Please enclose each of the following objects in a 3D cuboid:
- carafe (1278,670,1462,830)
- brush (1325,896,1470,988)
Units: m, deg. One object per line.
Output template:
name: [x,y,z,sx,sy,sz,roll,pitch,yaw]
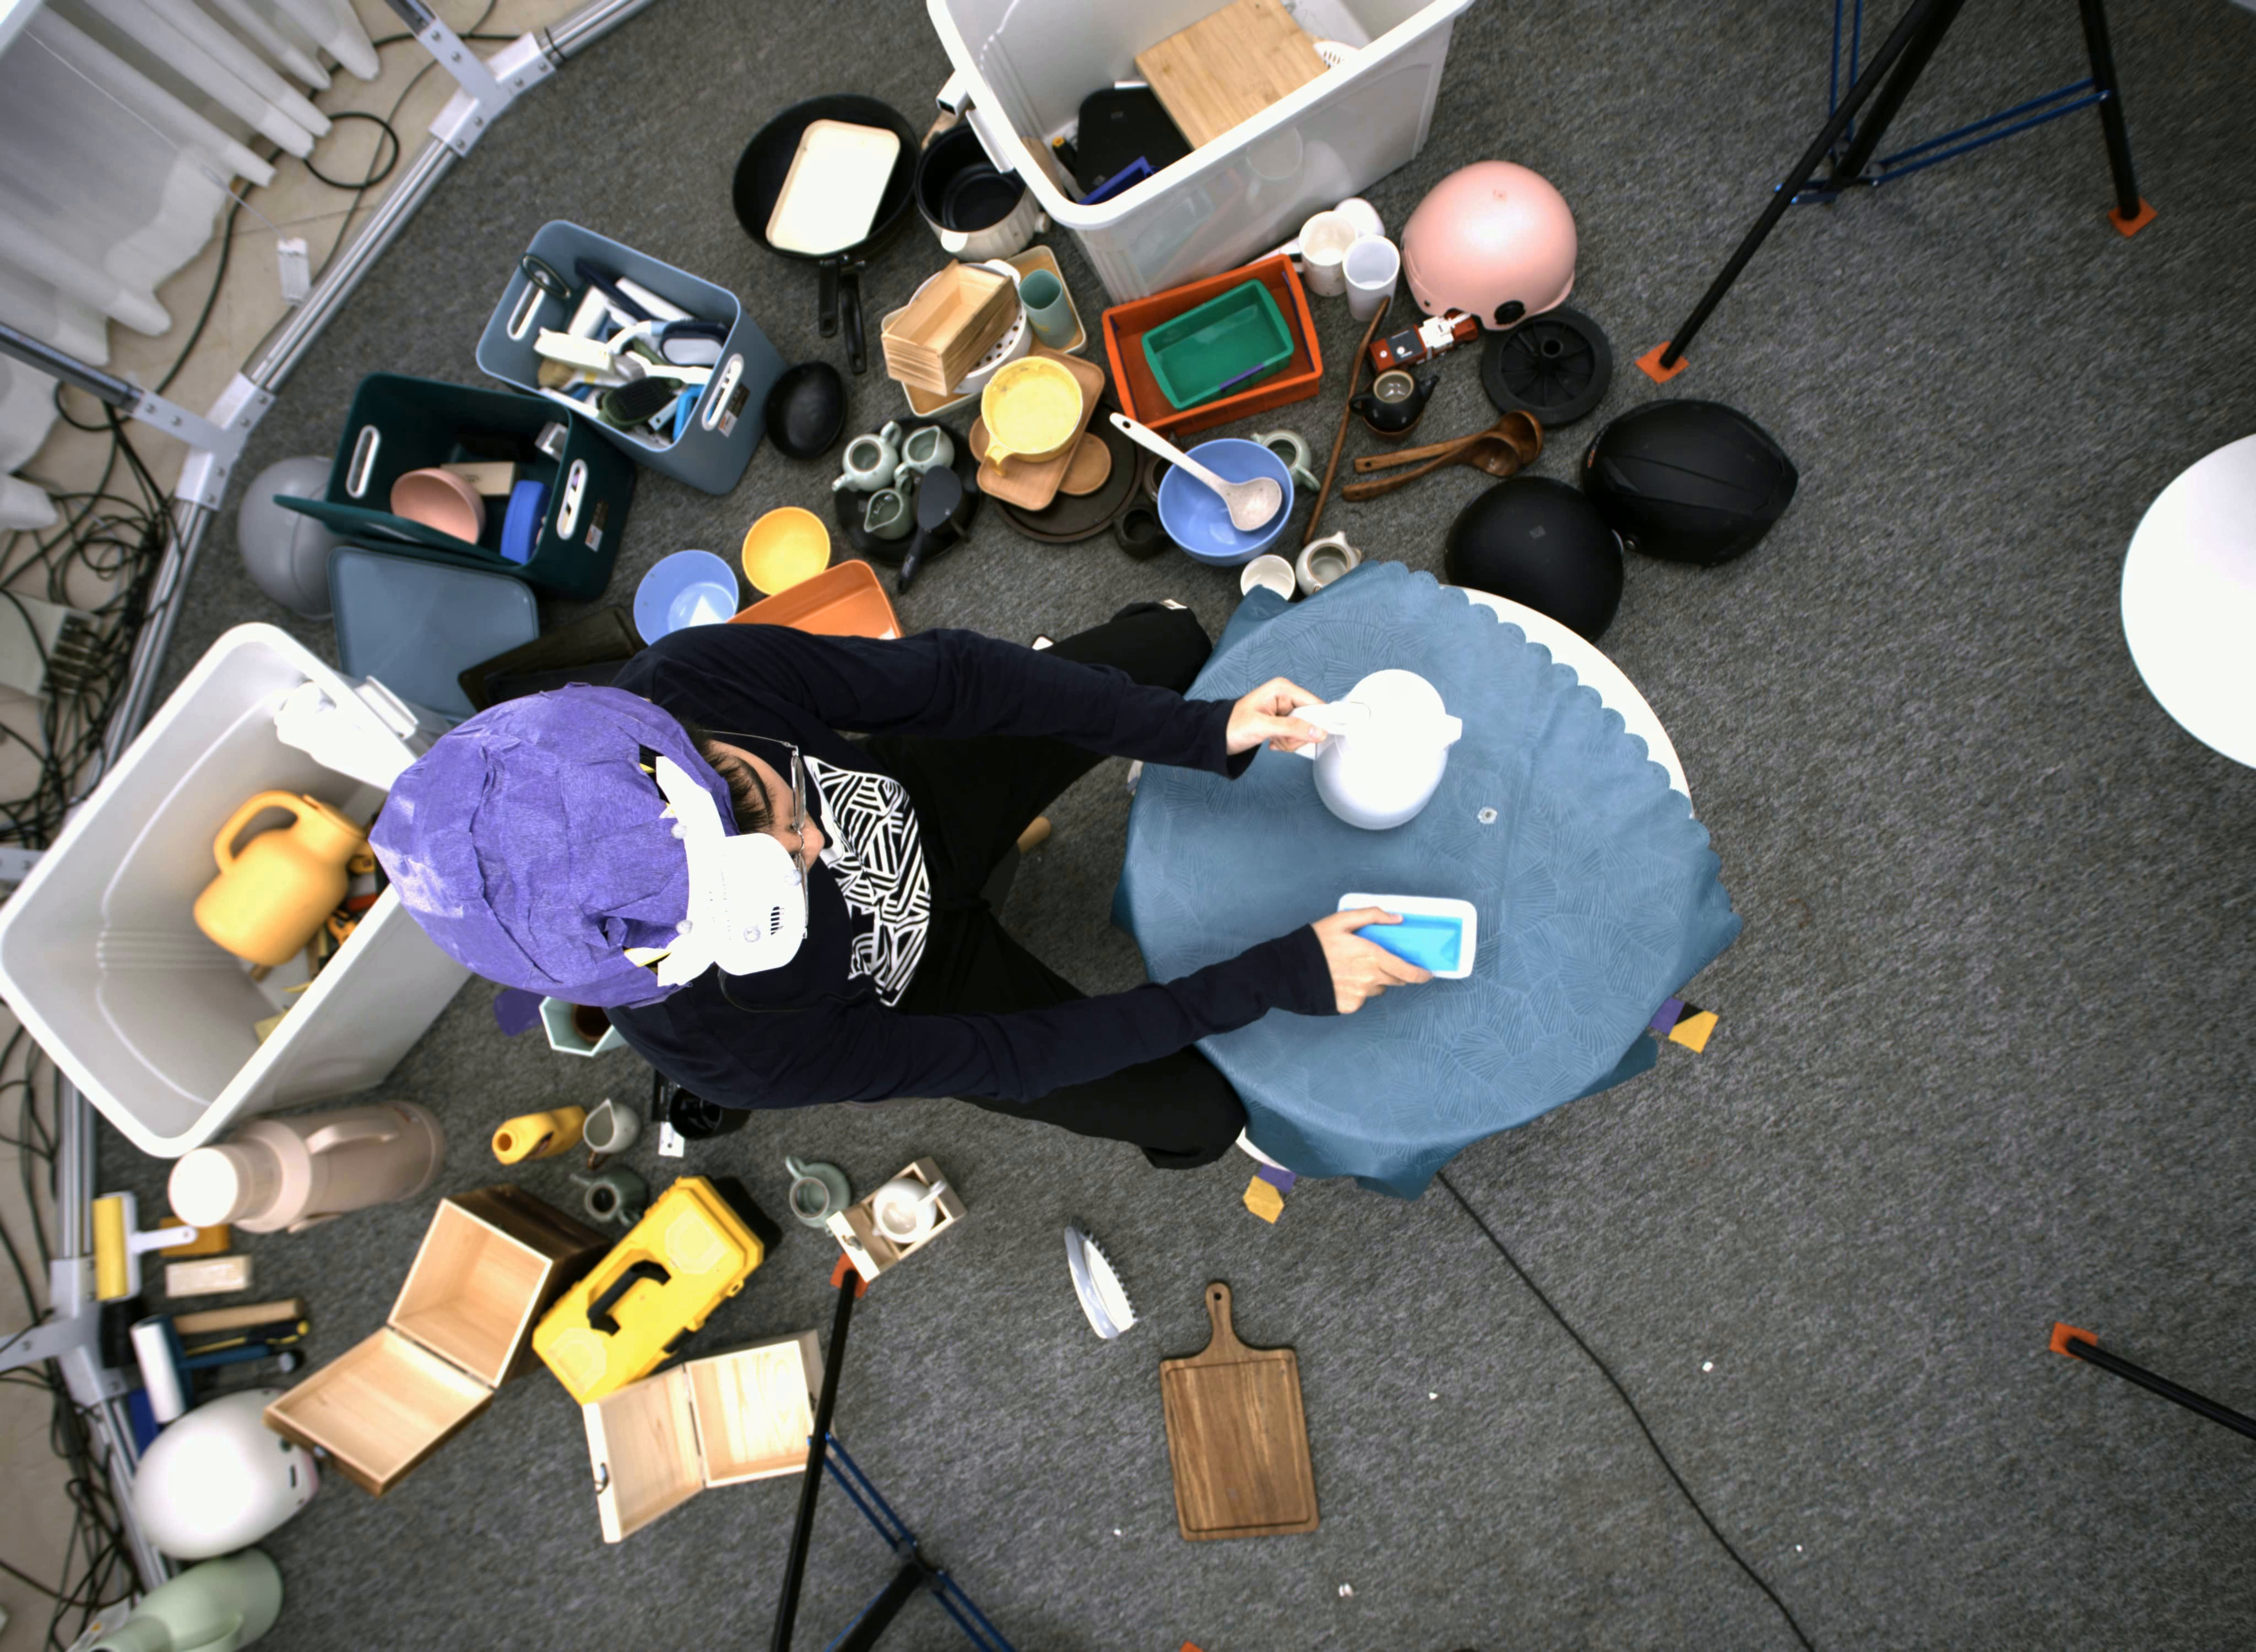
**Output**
carafe: [0.231,-0.080,1.342,0.168,0.249,0.131,4,83,8]
brush: [0.272,0.118,1.396,0.144,0.055,0.084,6,98,12]
